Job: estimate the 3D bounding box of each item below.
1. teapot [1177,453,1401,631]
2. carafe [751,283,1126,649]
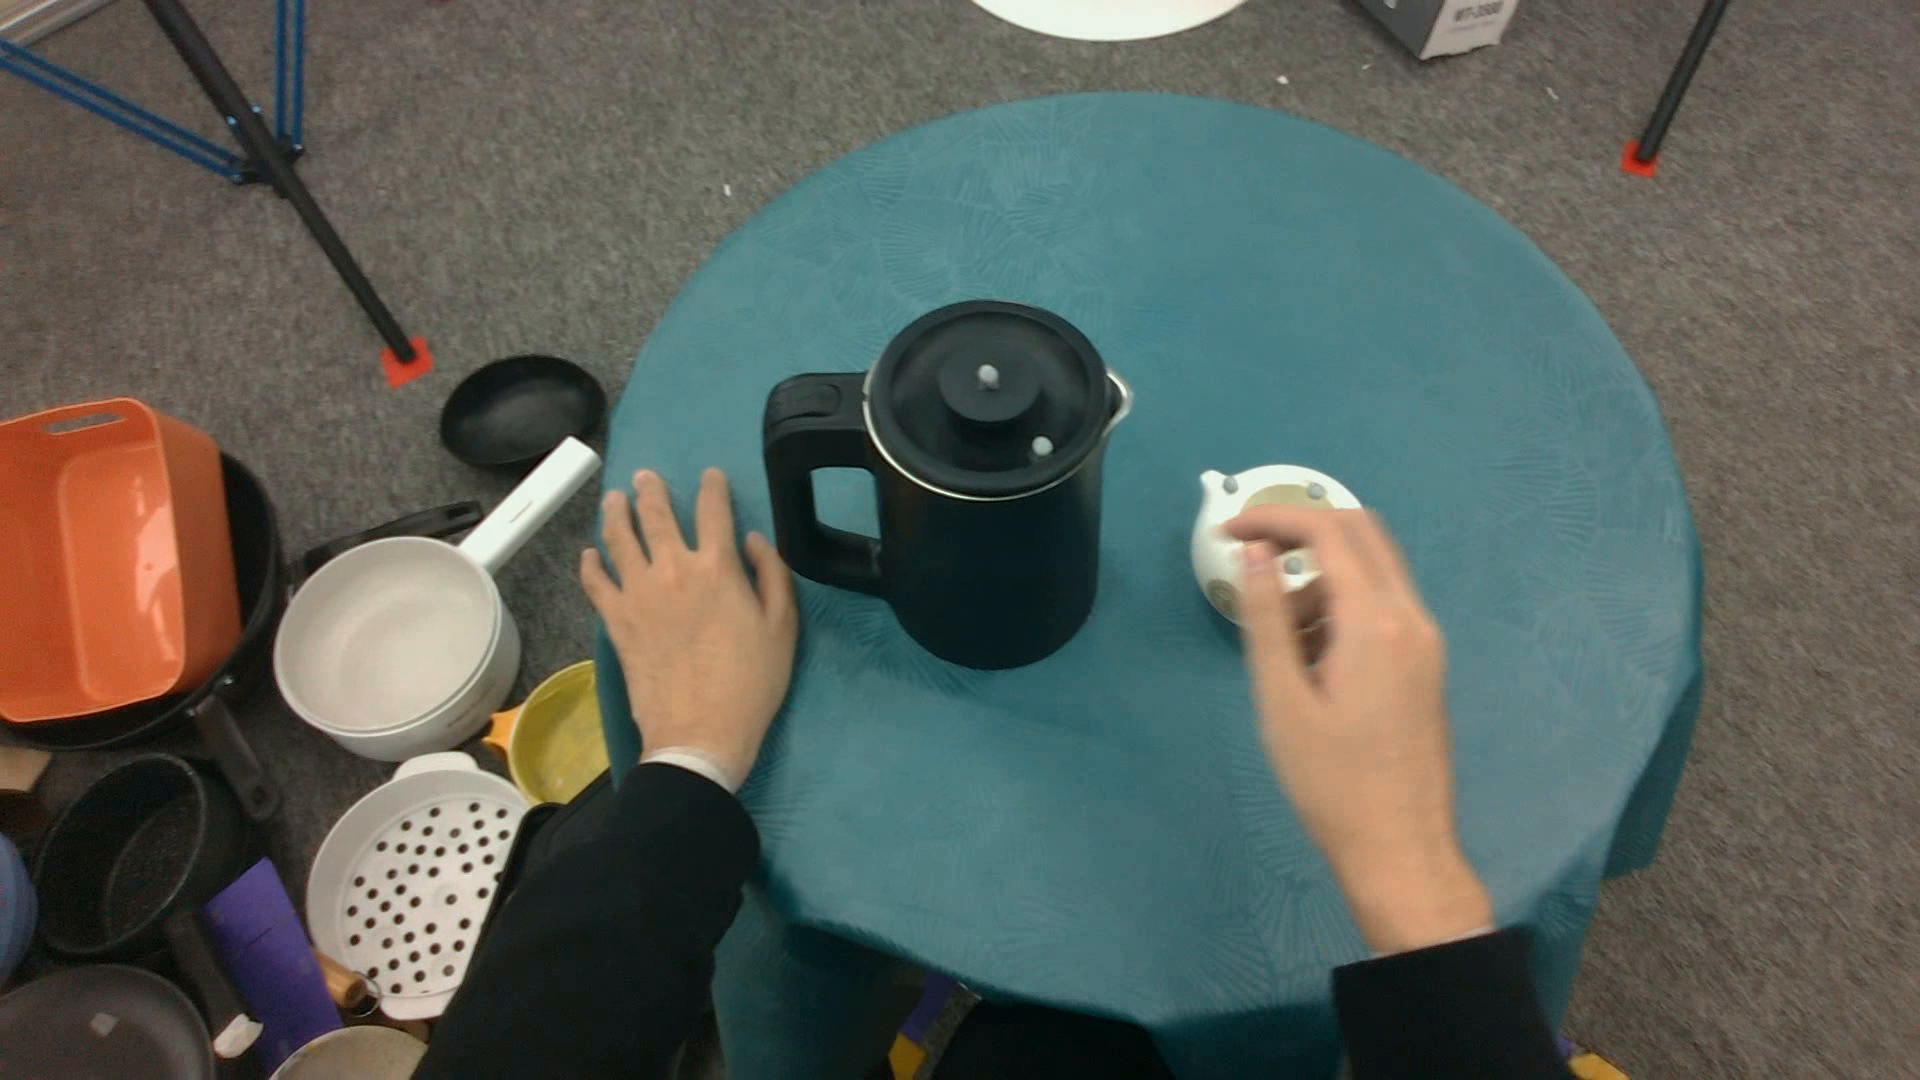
[{"bbox_3d":[0.168,0.004,0.704,0.127,0.056,0.094,29,60,17],"label":"teapot"},{"bbox_3d":[-0.014,-0.033,0.663,0.171,0.172,0.115,0,61,-2],"label":"carafe"}]
